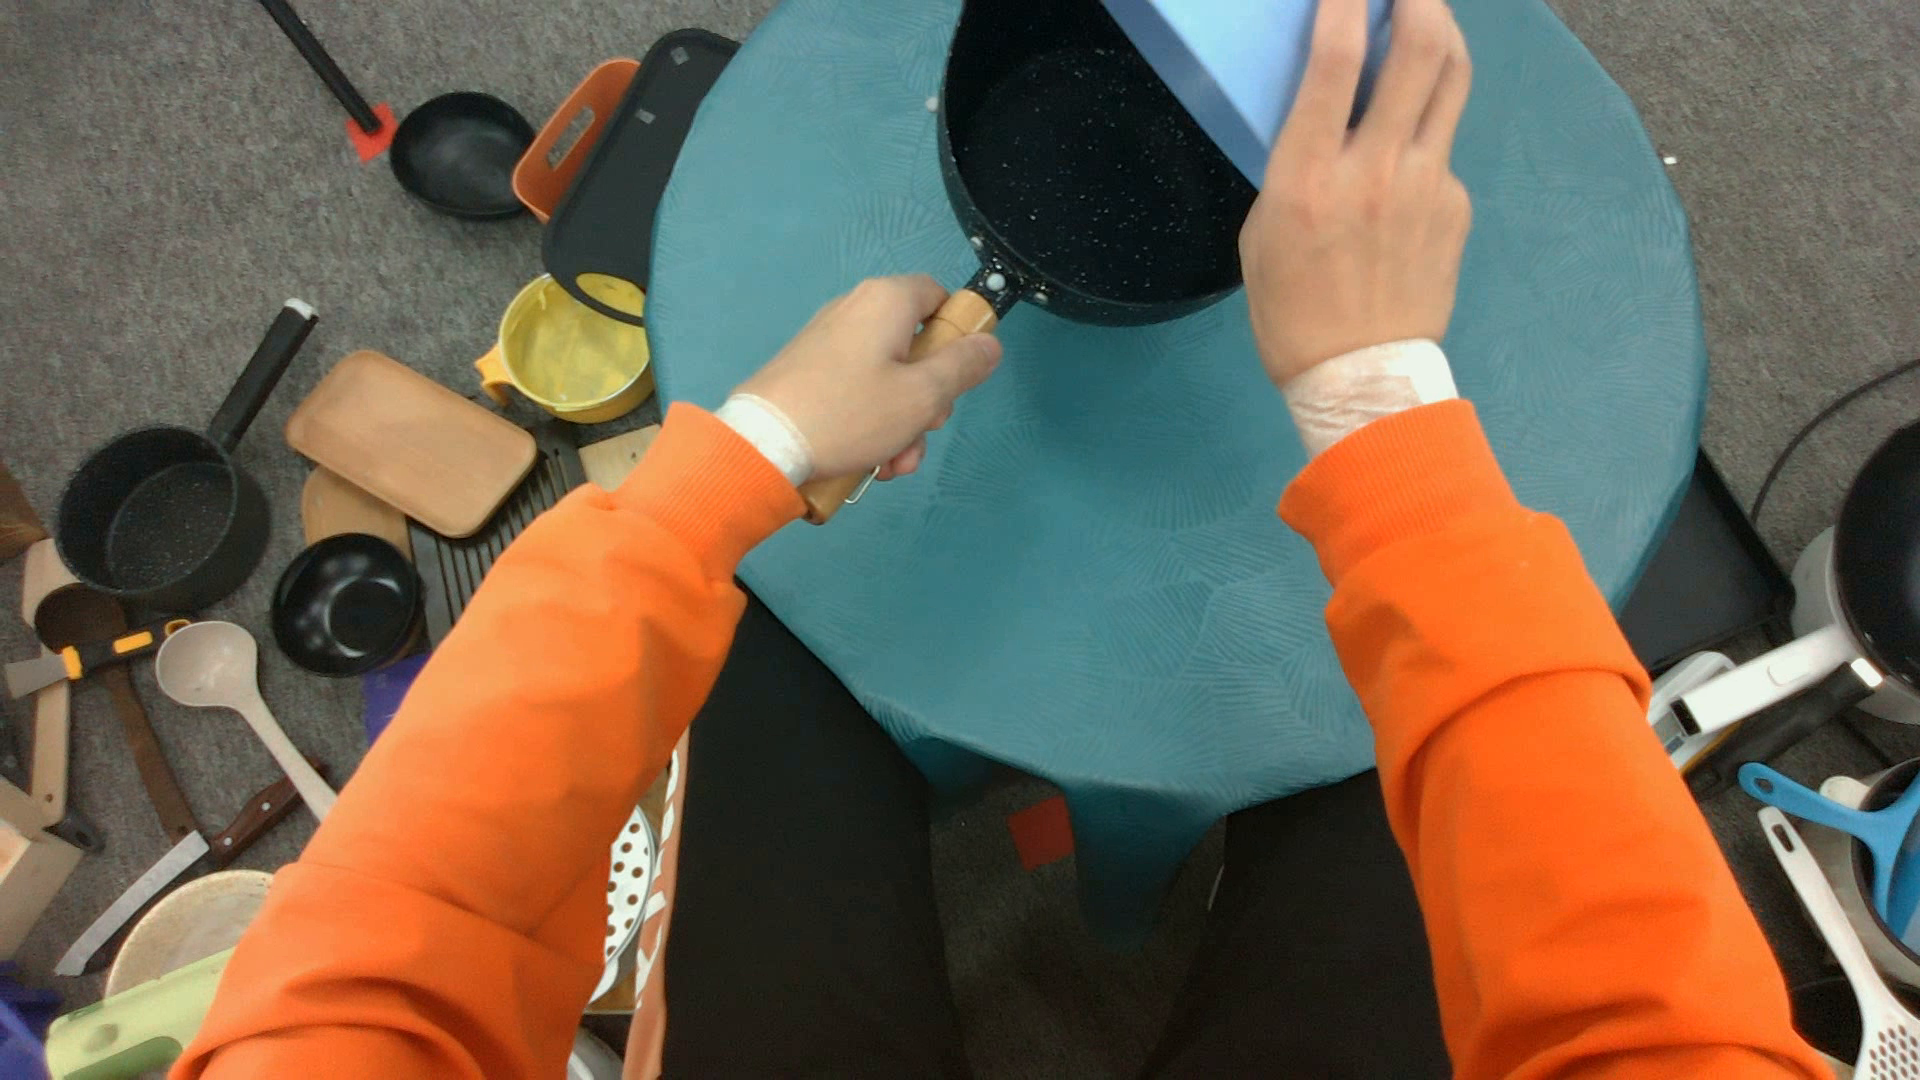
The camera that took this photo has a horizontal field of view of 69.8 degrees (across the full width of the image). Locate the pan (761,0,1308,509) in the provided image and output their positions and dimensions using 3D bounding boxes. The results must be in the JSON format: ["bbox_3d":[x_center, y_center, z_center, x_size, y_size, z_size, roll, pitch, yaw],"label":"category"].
[{"bbox_3d":[0.024,-0.140,0.660,0.207,0.108,0.343,39,77,-2],"label":"pan"}]

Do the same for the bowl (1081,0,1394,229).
[{"bbox_3d":[0.118,-0.238,0.587,0.095,0.196,0.196,-40,74,13],"label":"bowl"}]
